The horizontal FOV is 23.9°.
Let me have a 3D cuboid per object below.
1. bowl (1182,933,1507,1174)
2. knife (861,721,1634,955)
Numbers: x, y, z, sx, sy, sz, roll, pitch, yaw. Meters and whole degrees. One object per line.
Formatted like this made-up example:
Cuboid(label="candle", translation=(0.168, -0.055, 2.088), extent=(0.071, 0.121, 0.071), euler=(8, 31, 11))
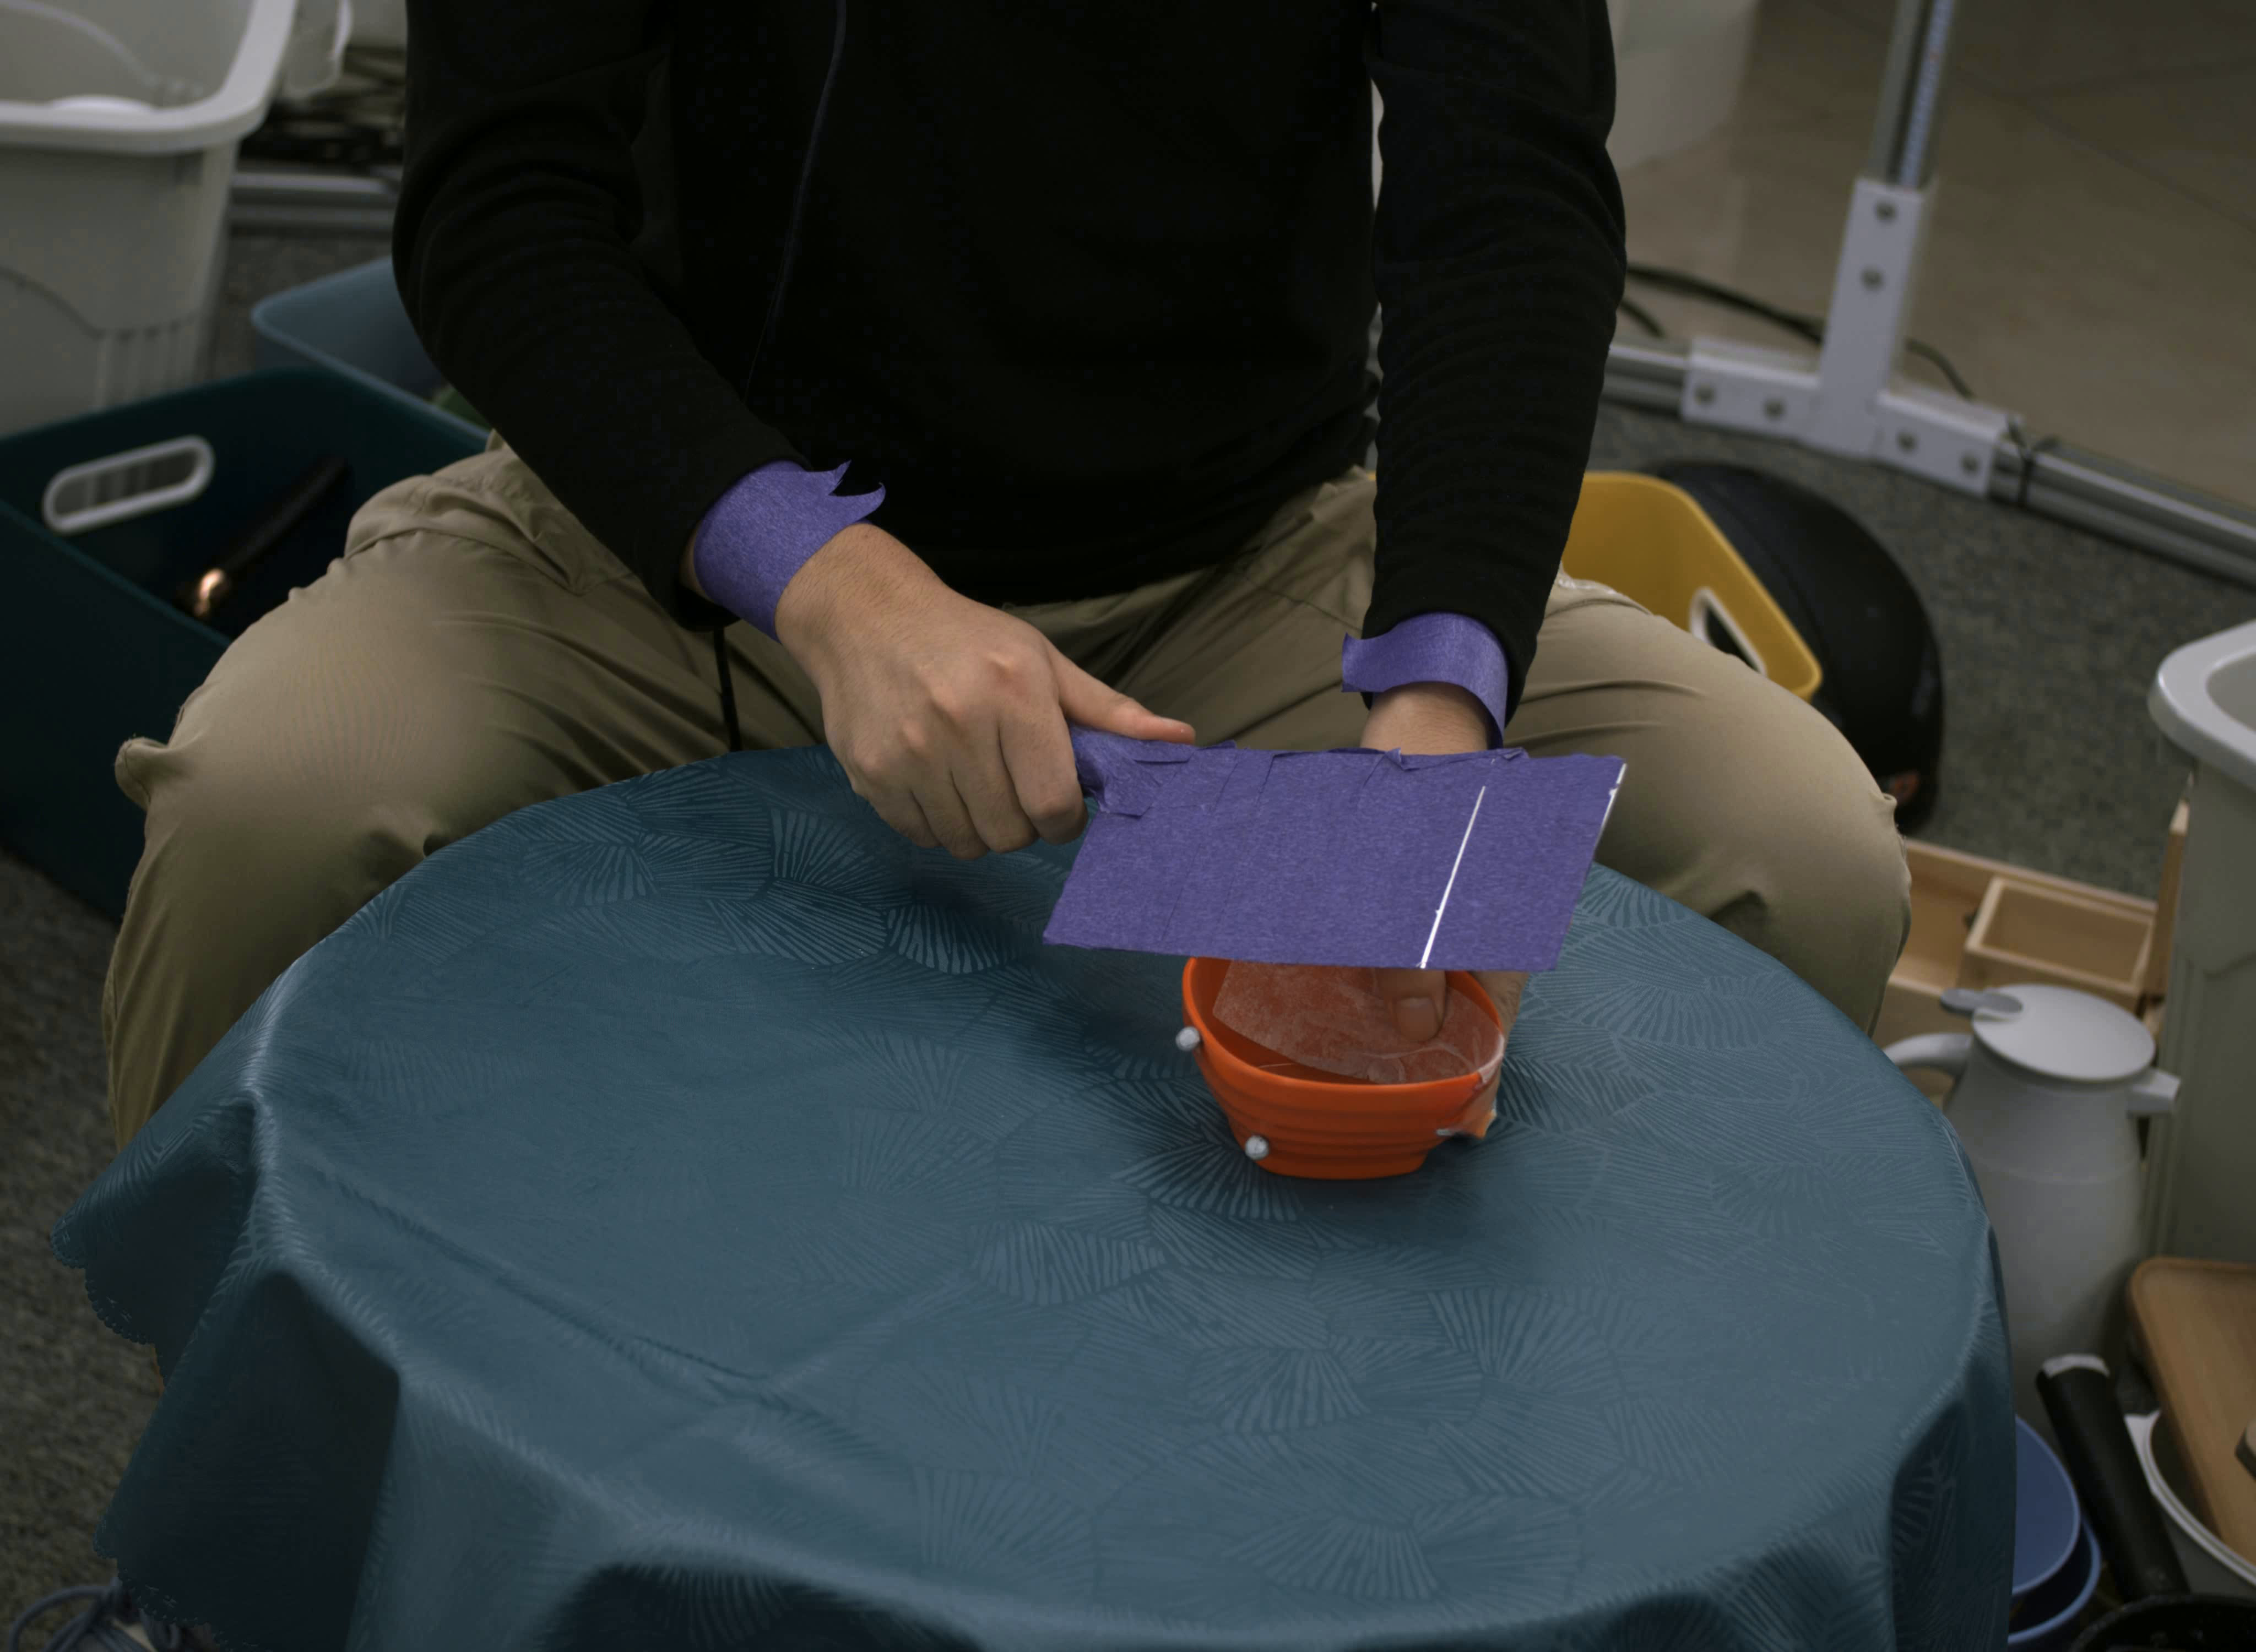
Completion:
Cuboid(label="bowl", translation=(0.071, 0.081, 1.842), extent=(0.118, 0.051, 0.119), euler=(5, 28, -3))
Cuboid(label="knife", translation=(0.027, 0.003, 1.883), extent=(0.316, 0.032, 0.104), euler=(0, 52, 35))
